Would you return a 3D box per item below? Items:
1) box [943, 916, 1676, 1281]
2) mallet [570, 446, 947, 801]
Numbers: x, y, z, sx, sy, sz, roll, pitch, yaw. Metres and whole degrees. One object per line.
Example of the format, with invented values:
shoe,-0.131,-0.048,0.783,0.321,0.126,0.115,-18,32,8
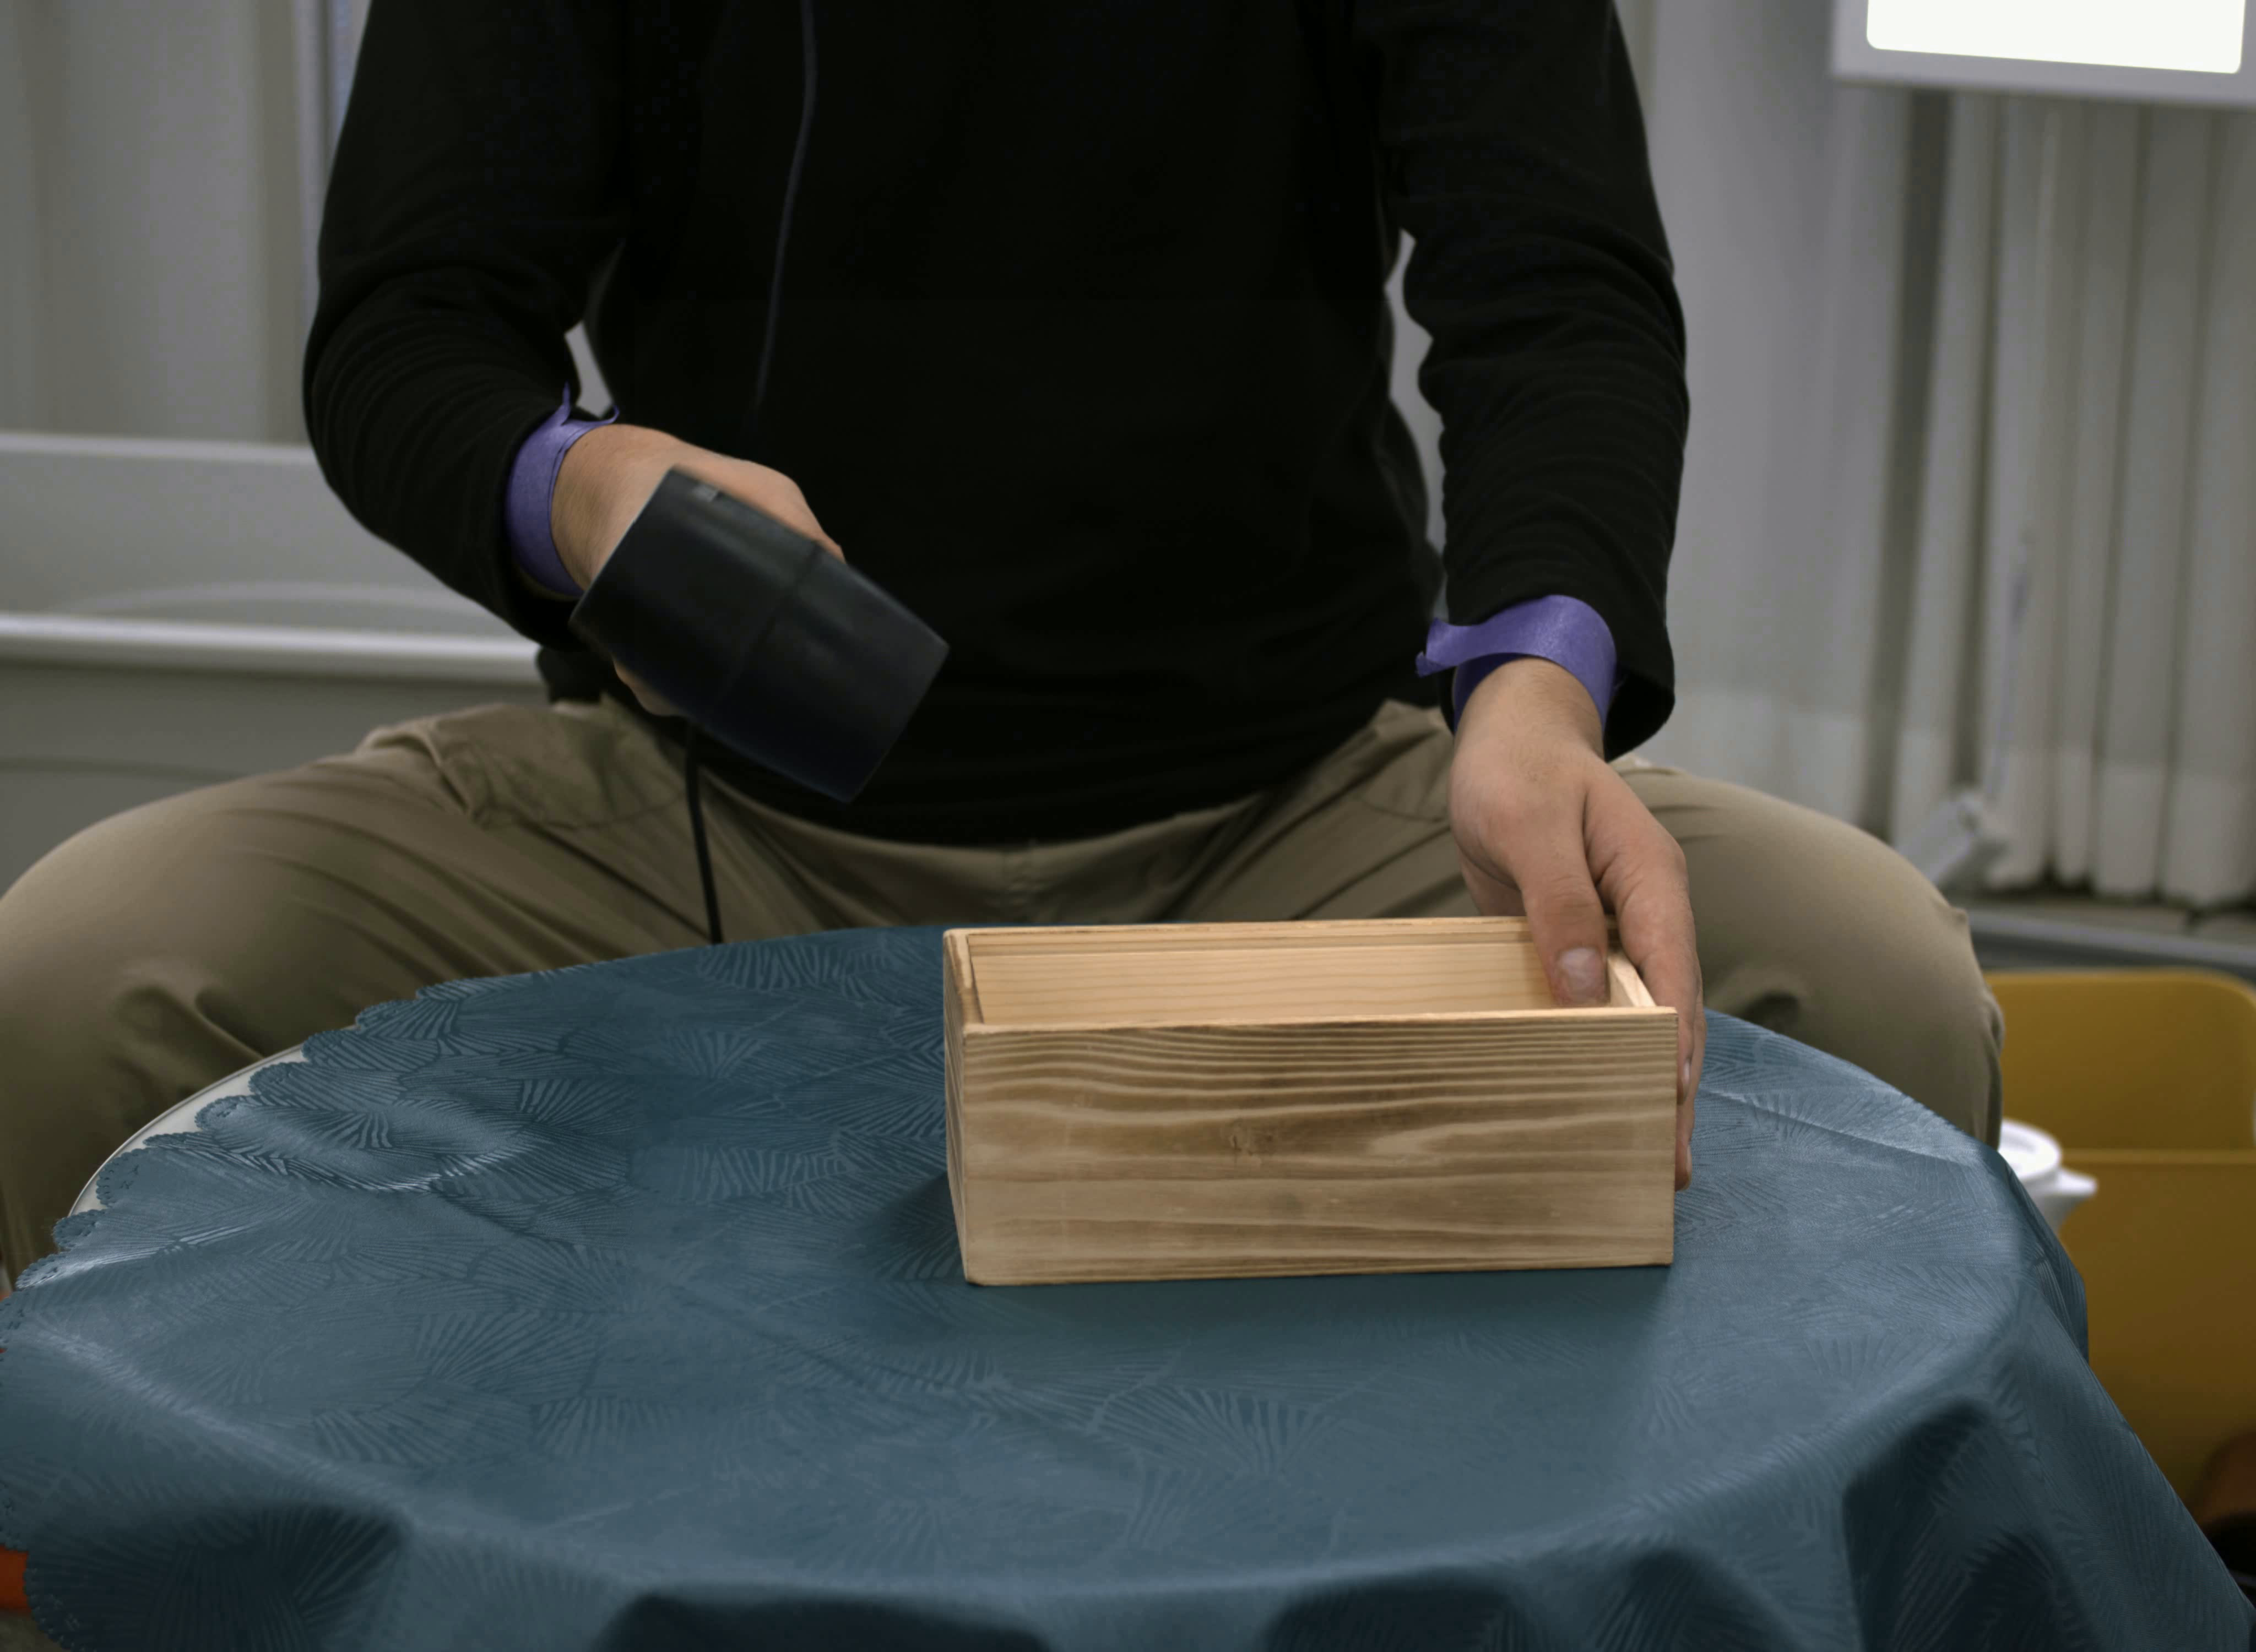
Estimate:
box,0.052,0.081,1.588,0.211,0.081,0.107,-1,15,-6
mallet,-0.111,-0.073,1.649,0.102,0.064,0.338,40,3,-5
